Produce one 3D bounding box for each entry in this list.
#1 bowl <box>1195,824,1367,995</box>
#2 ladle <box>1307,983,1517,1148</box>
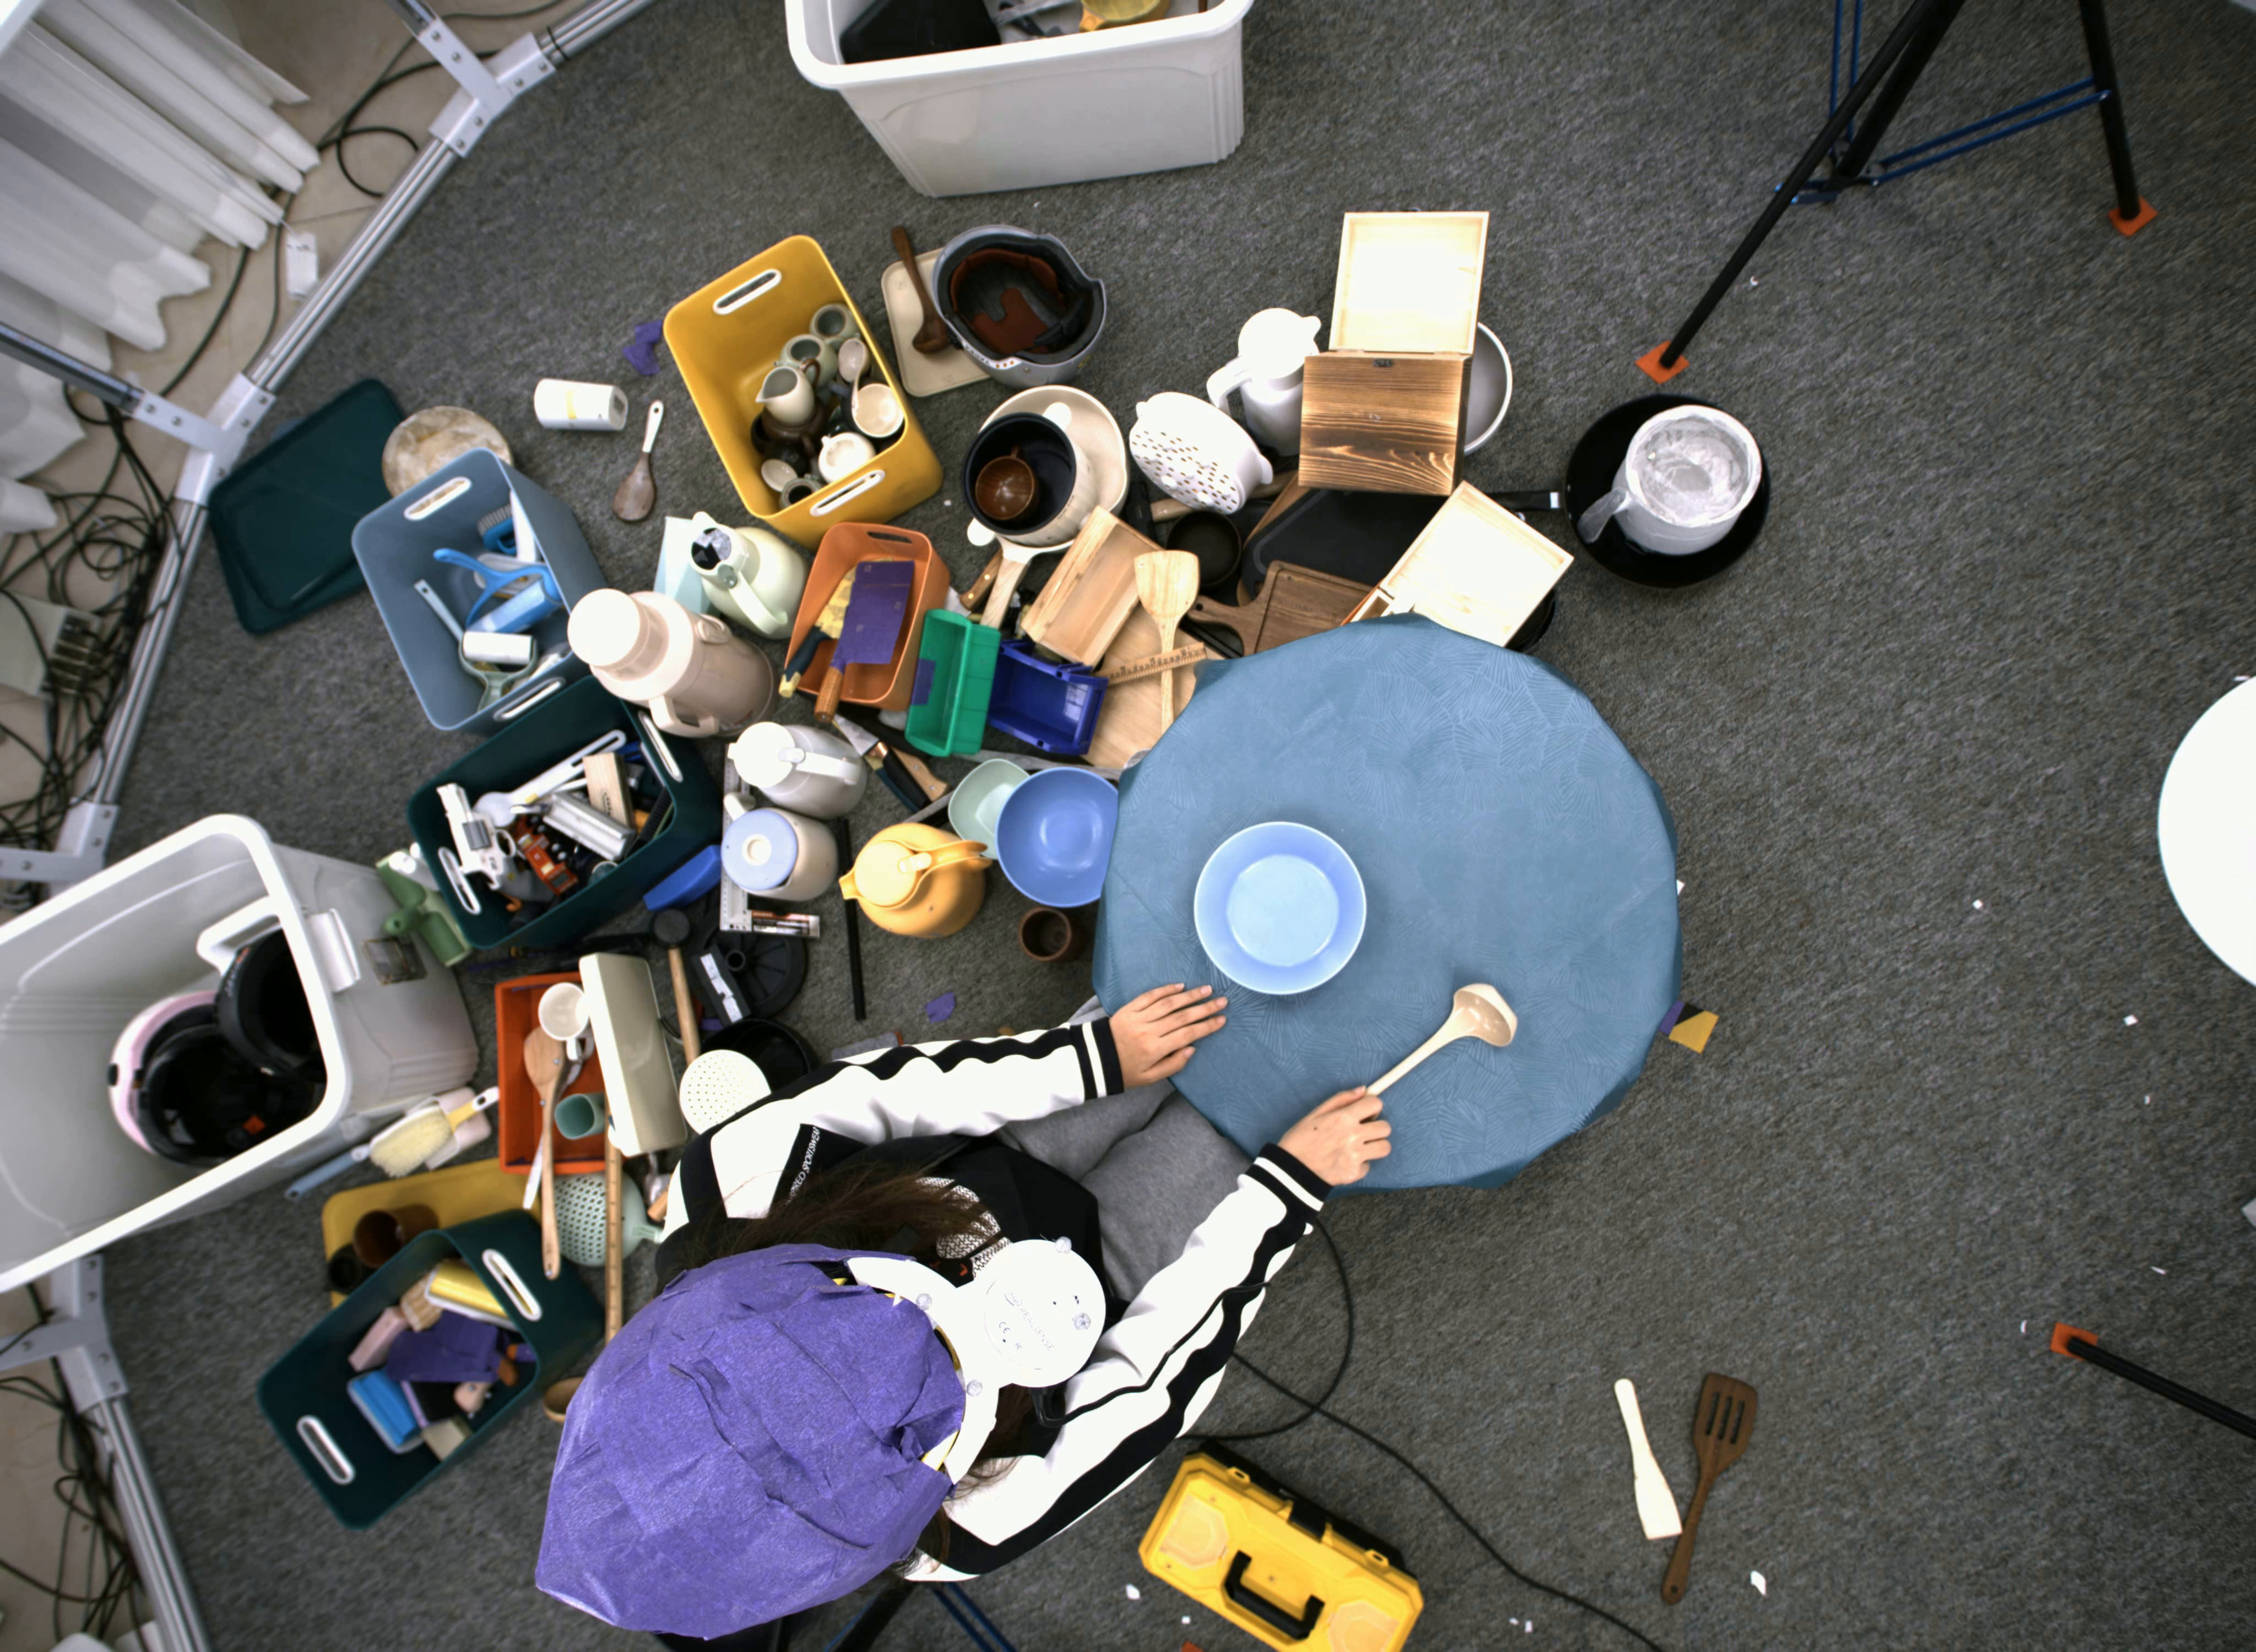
[{"bbox_3d":[0.161,0.088,1.444,0.177,0.070,0.175,-1,85,11],"label":"bowl"},{"bbox_3d":[0.285,0.254,1.411,0.256,0.072,0.072,-40,91,6],"label":"ladle"}]
